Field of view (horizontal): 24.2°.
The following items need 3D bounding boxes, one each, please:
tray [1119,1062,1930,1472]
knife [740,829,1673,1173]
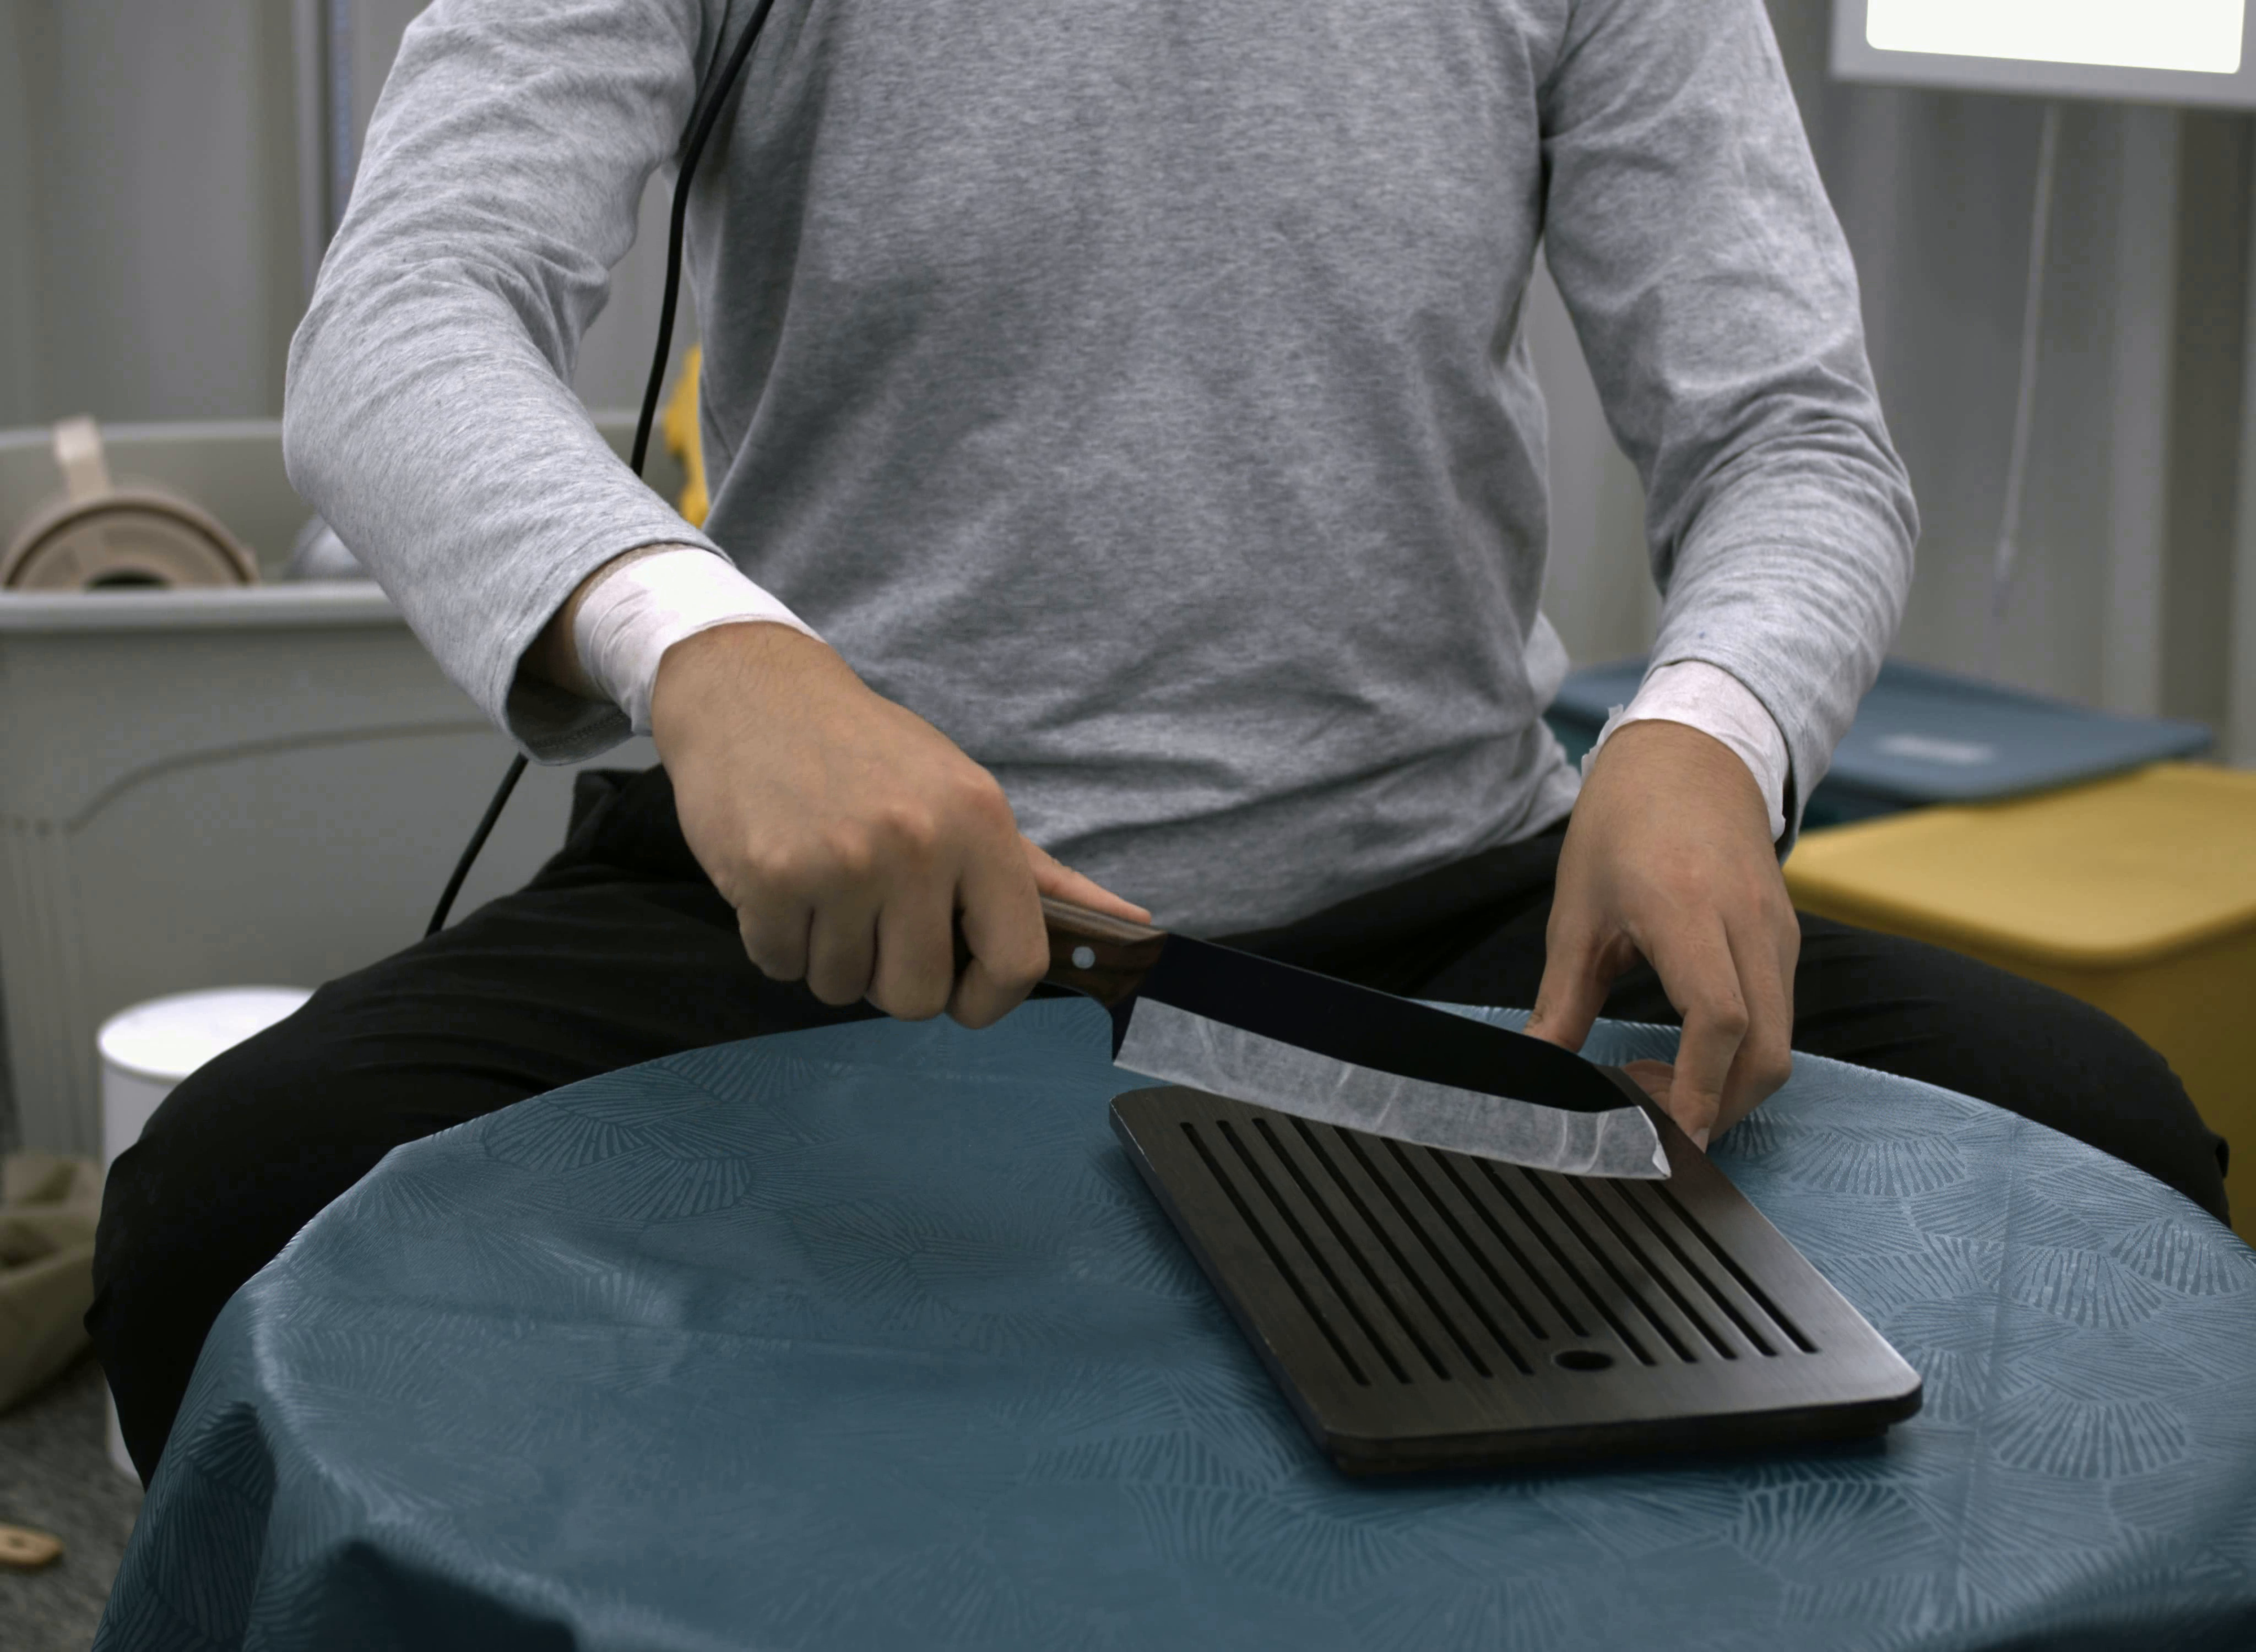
[{"bbox_3d":[0.107,0.126,1.547,0.170,0.019,0.303,-3,15,-11],"label":"tray"},{"bbox_3d":[0.023,0.052,1.529,0.289,0.050,0.020,18,18,-5],"label":"knife"}]
